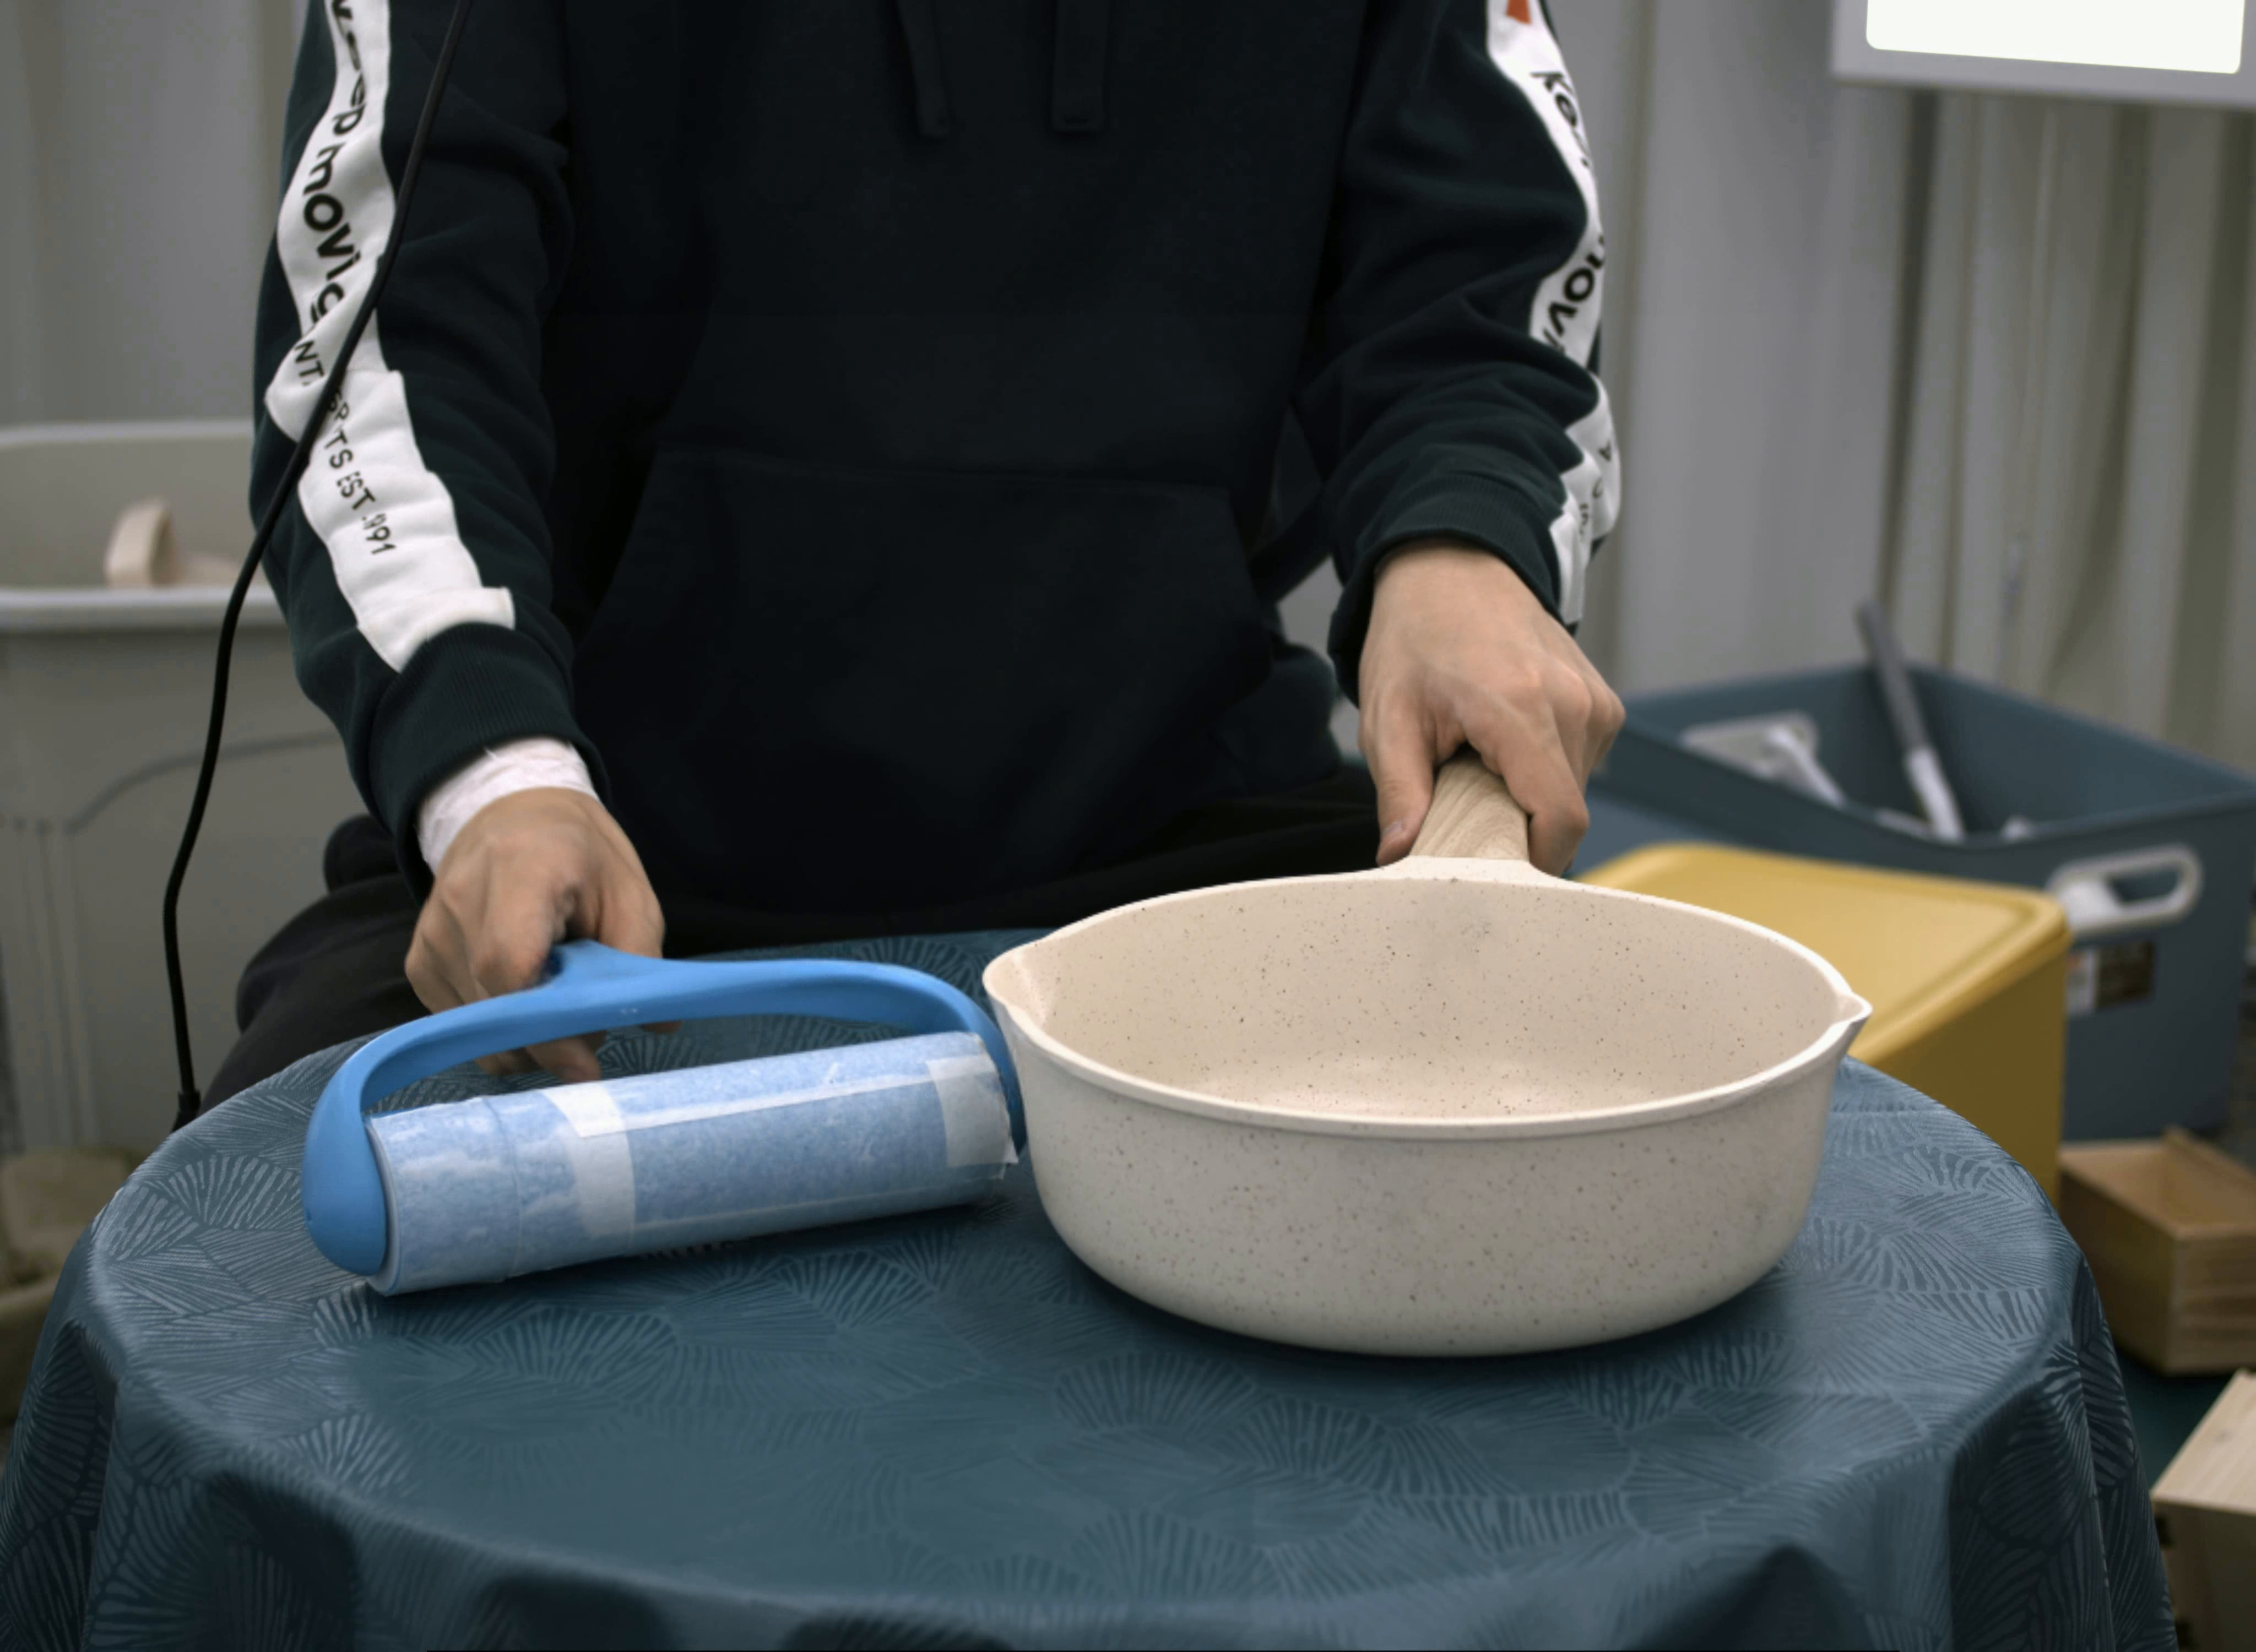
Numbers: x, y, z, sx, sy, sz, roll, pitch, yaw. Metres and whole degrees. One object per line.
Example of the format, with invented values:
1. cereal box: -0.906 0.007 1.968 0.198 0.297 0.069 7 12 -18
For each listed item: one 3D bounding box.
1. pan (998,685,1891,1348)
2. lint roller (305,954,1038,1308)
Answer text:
1. pan: 0.104 0.054 1.644 0.262 0.103 0.433 1 15 7
2. lint roller: -0.160 0.073 1.604 0.230 0.068 0.178 -10 32 -27
